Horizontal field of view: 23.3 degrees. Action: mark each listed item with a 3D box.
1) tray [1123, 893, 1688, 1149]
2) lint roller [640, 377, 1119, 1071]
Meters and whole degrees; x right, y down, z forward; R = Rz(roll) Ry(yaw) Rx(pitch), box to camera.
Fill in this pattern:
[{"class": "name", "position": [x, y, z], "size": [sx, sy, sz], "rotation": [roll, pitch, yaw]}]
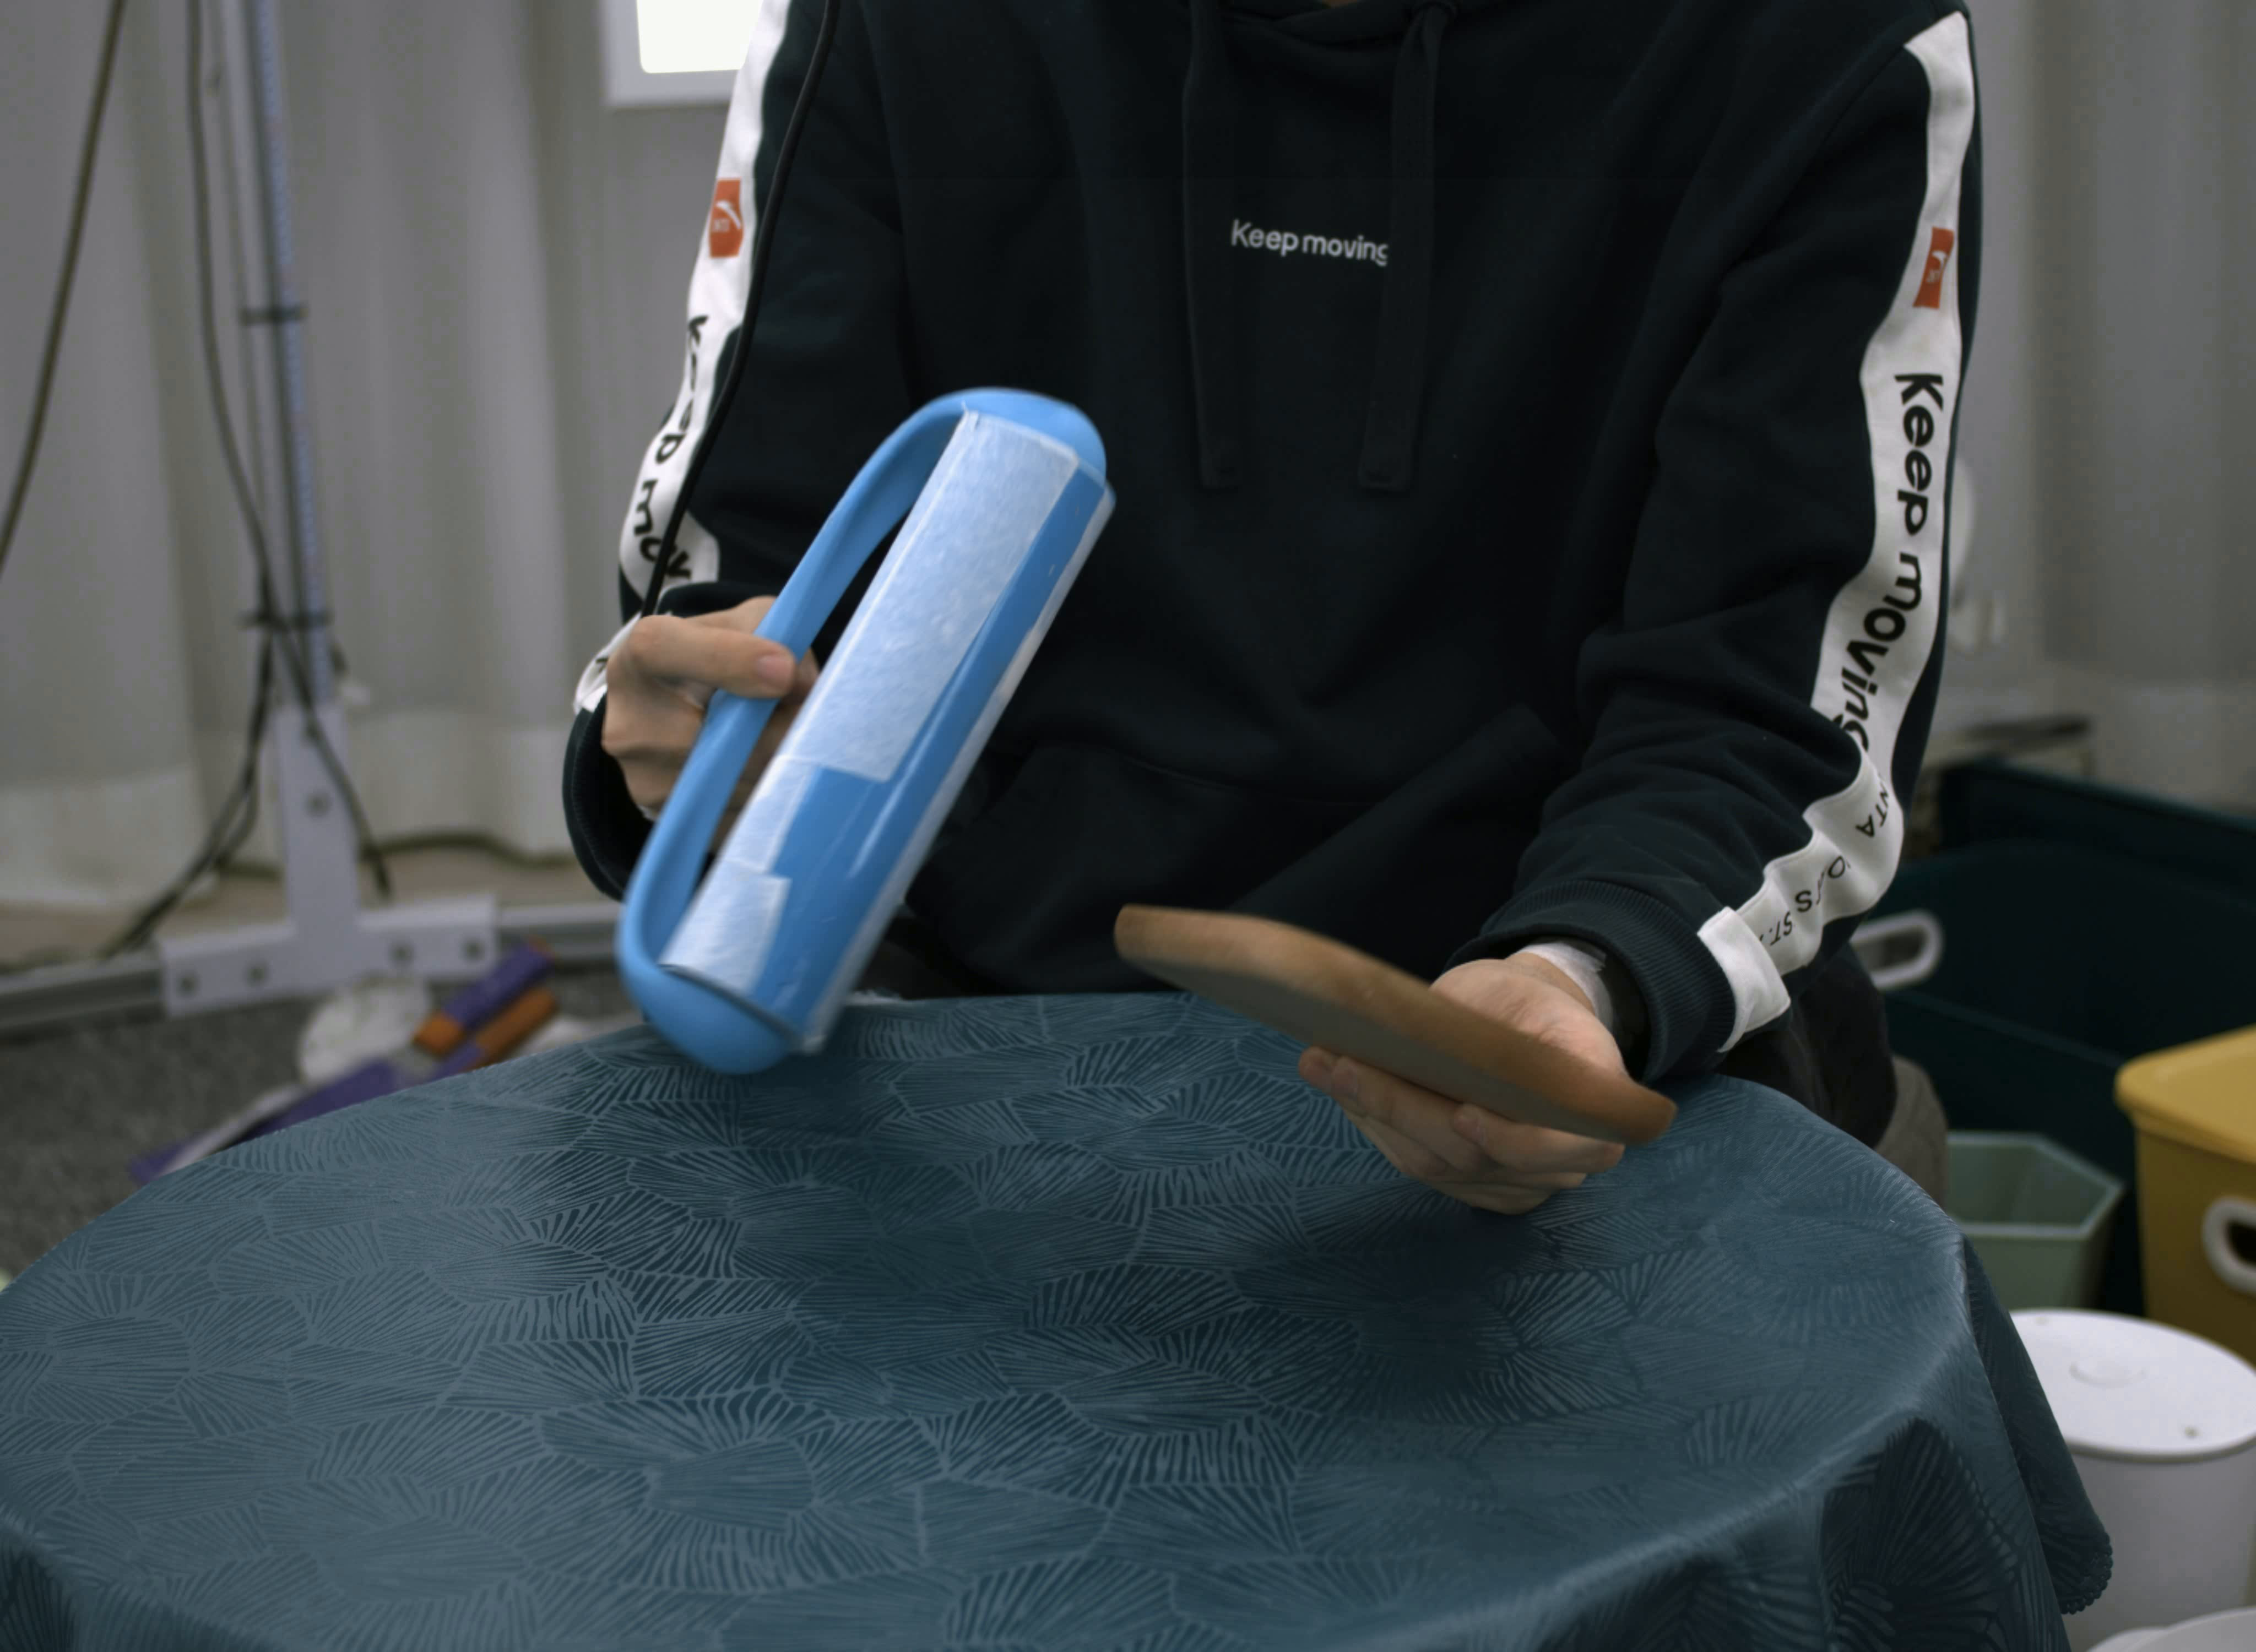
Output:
[{"class": "tray", "position": [0.073, 0.055, 1.560], "size": [0.130, 0.023, 0.251], "rotation": [29, -6, -9]}, {"class": "lint roller", "position": [-0.095, -0.030, 1.689], "size": [0.067, 0.230, 0.180], "rotation": [31, -16, -23]}]
